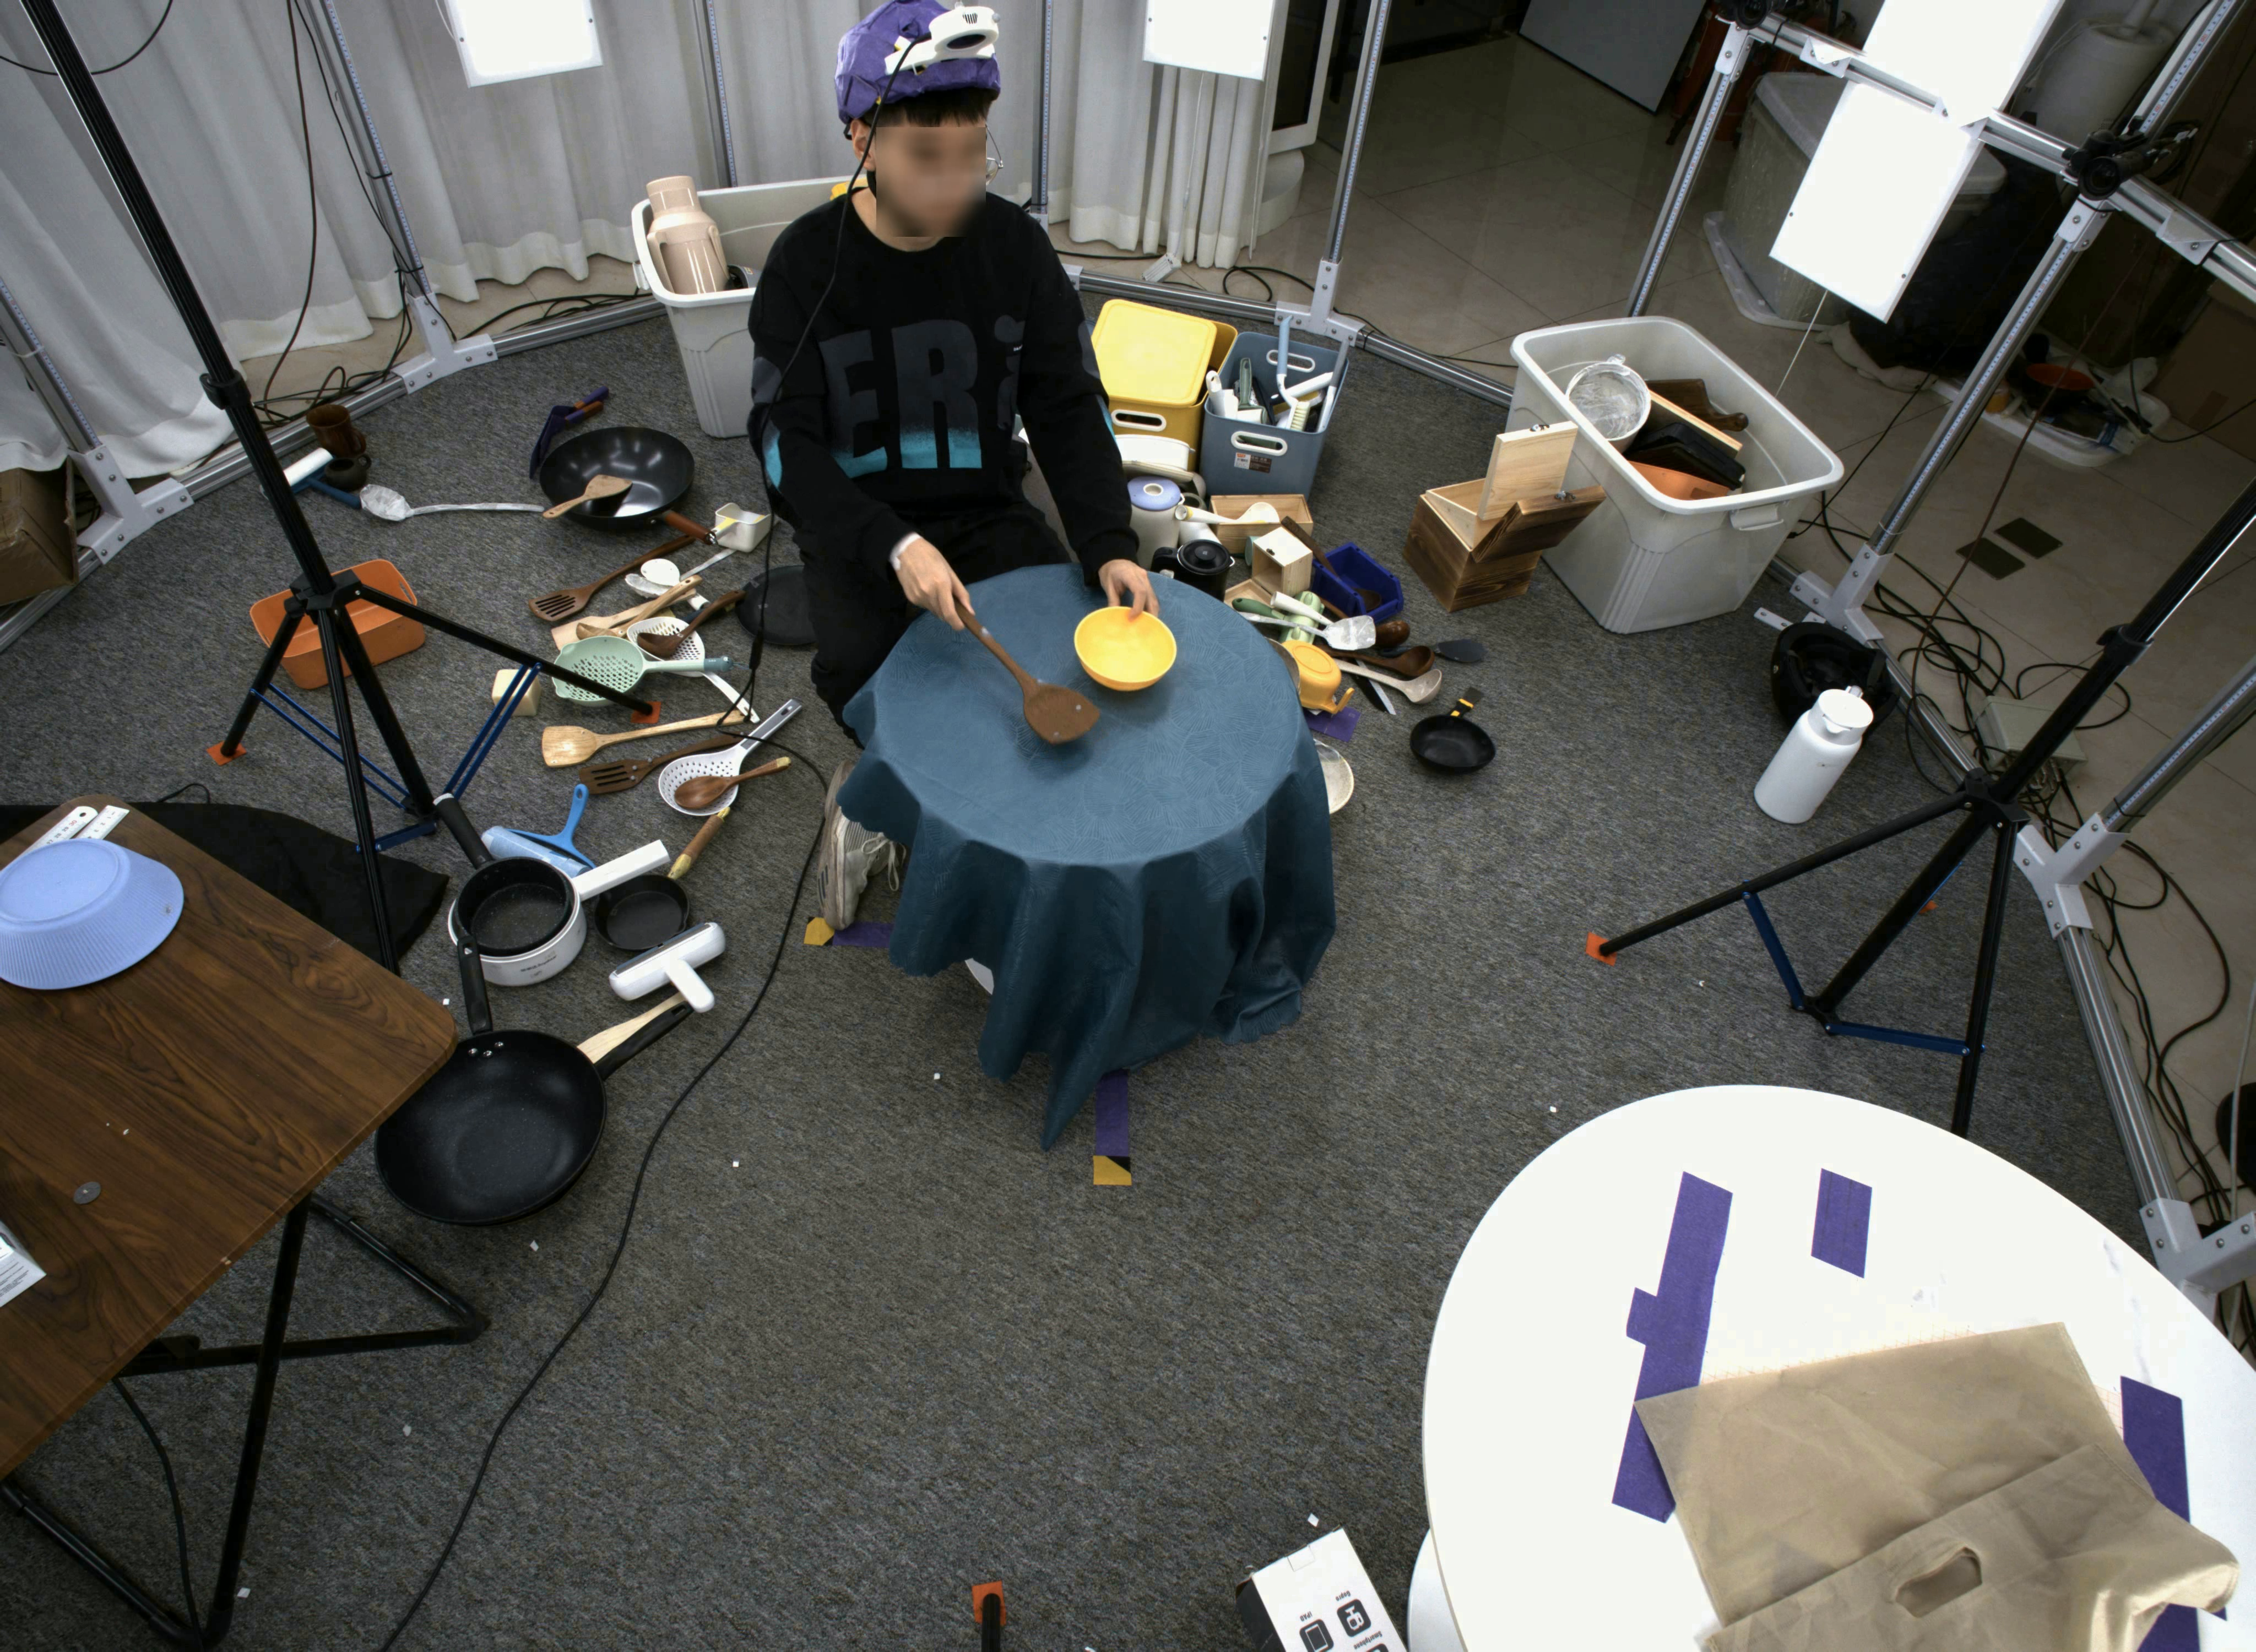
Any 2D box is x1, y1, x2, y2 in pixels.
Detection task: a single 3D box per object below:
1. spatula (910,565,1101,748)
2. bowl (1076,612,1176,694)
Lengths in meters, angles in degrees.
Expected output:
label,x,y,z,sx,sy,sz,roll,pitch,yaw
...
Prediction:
label,x,y,z,sx,sy,sz,roll,pitch,yaw
spatula,-0.187,-0.249,1.809,0.097,0.015,0.391,-32,66,-28
bowl,-0.007,-0.237,1.848,0.145,0.059,0.149,5,50,-7
